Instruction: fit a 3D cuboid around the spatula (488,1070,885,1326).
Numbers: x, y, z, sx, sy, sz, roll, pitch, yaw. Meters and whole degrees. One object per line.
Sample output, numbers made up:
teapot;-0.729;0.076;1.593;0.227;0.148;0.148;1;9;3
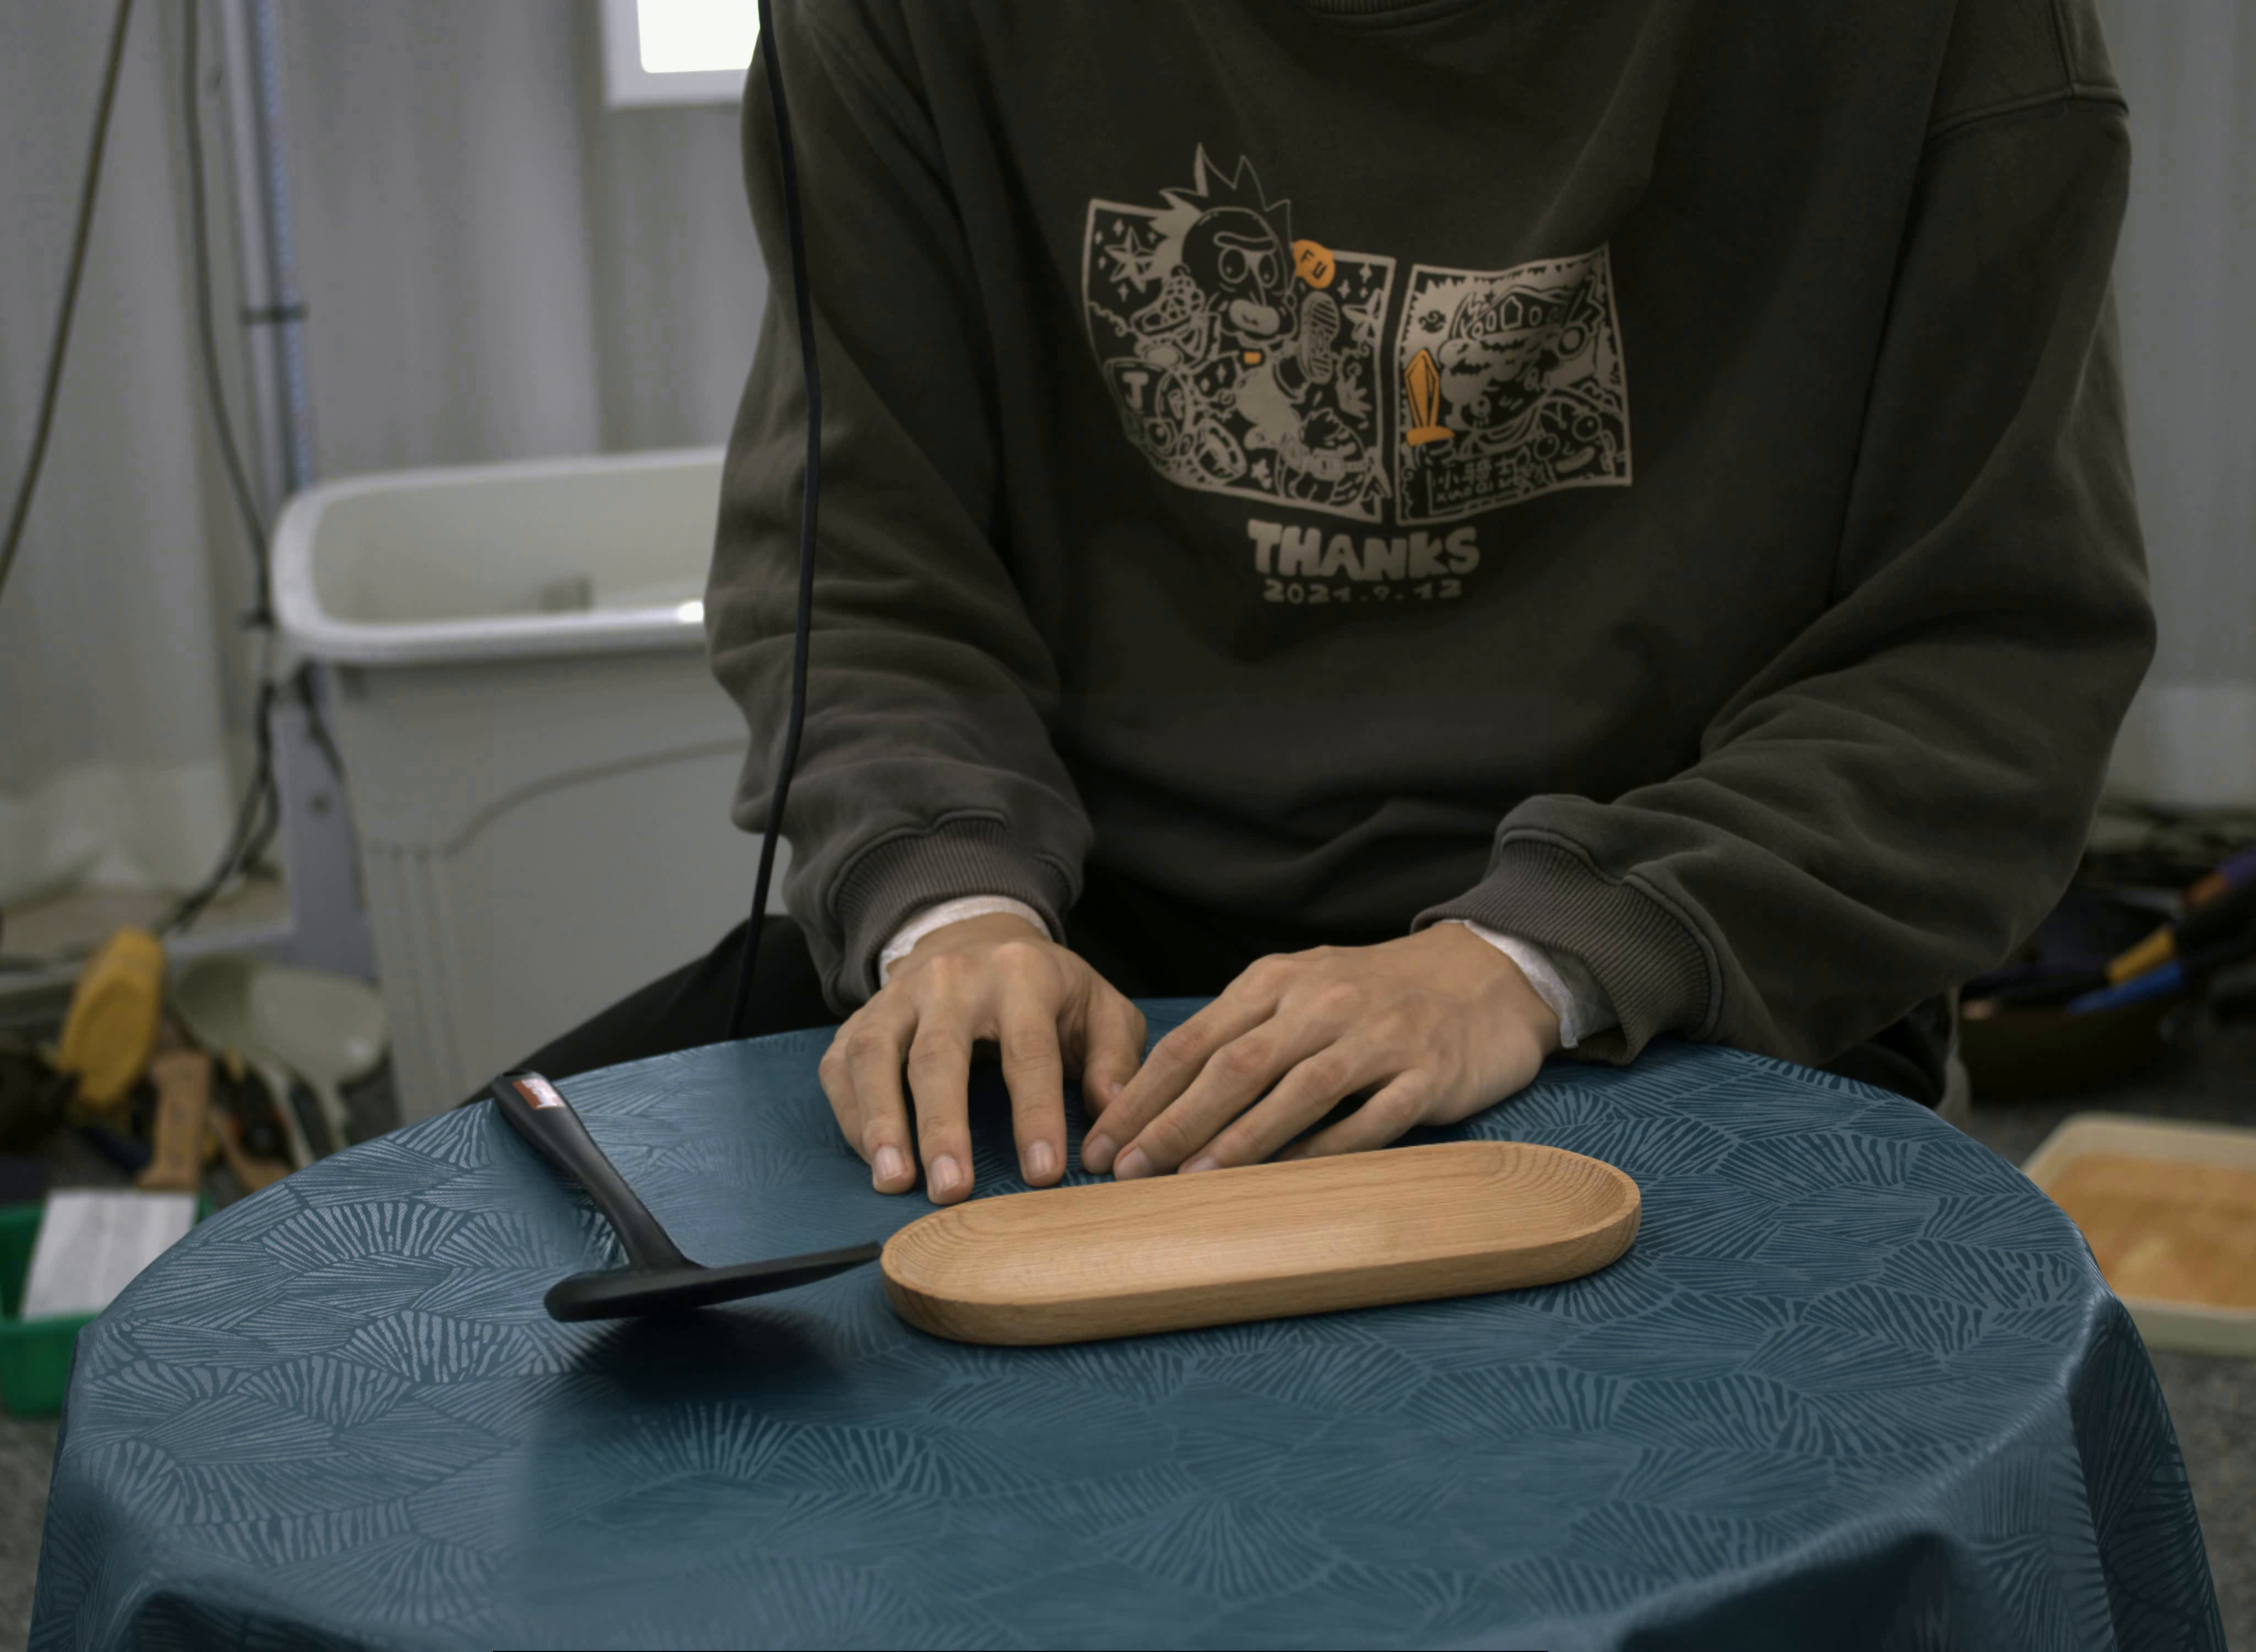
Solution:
spatula;-0.161;0.110;1.703;0.099;0.040;0.329;-6;15;-17

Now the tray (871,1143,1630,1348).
tray;0.038;0.126;1.641;0.230;0.020;0.102;-7;15;-10
